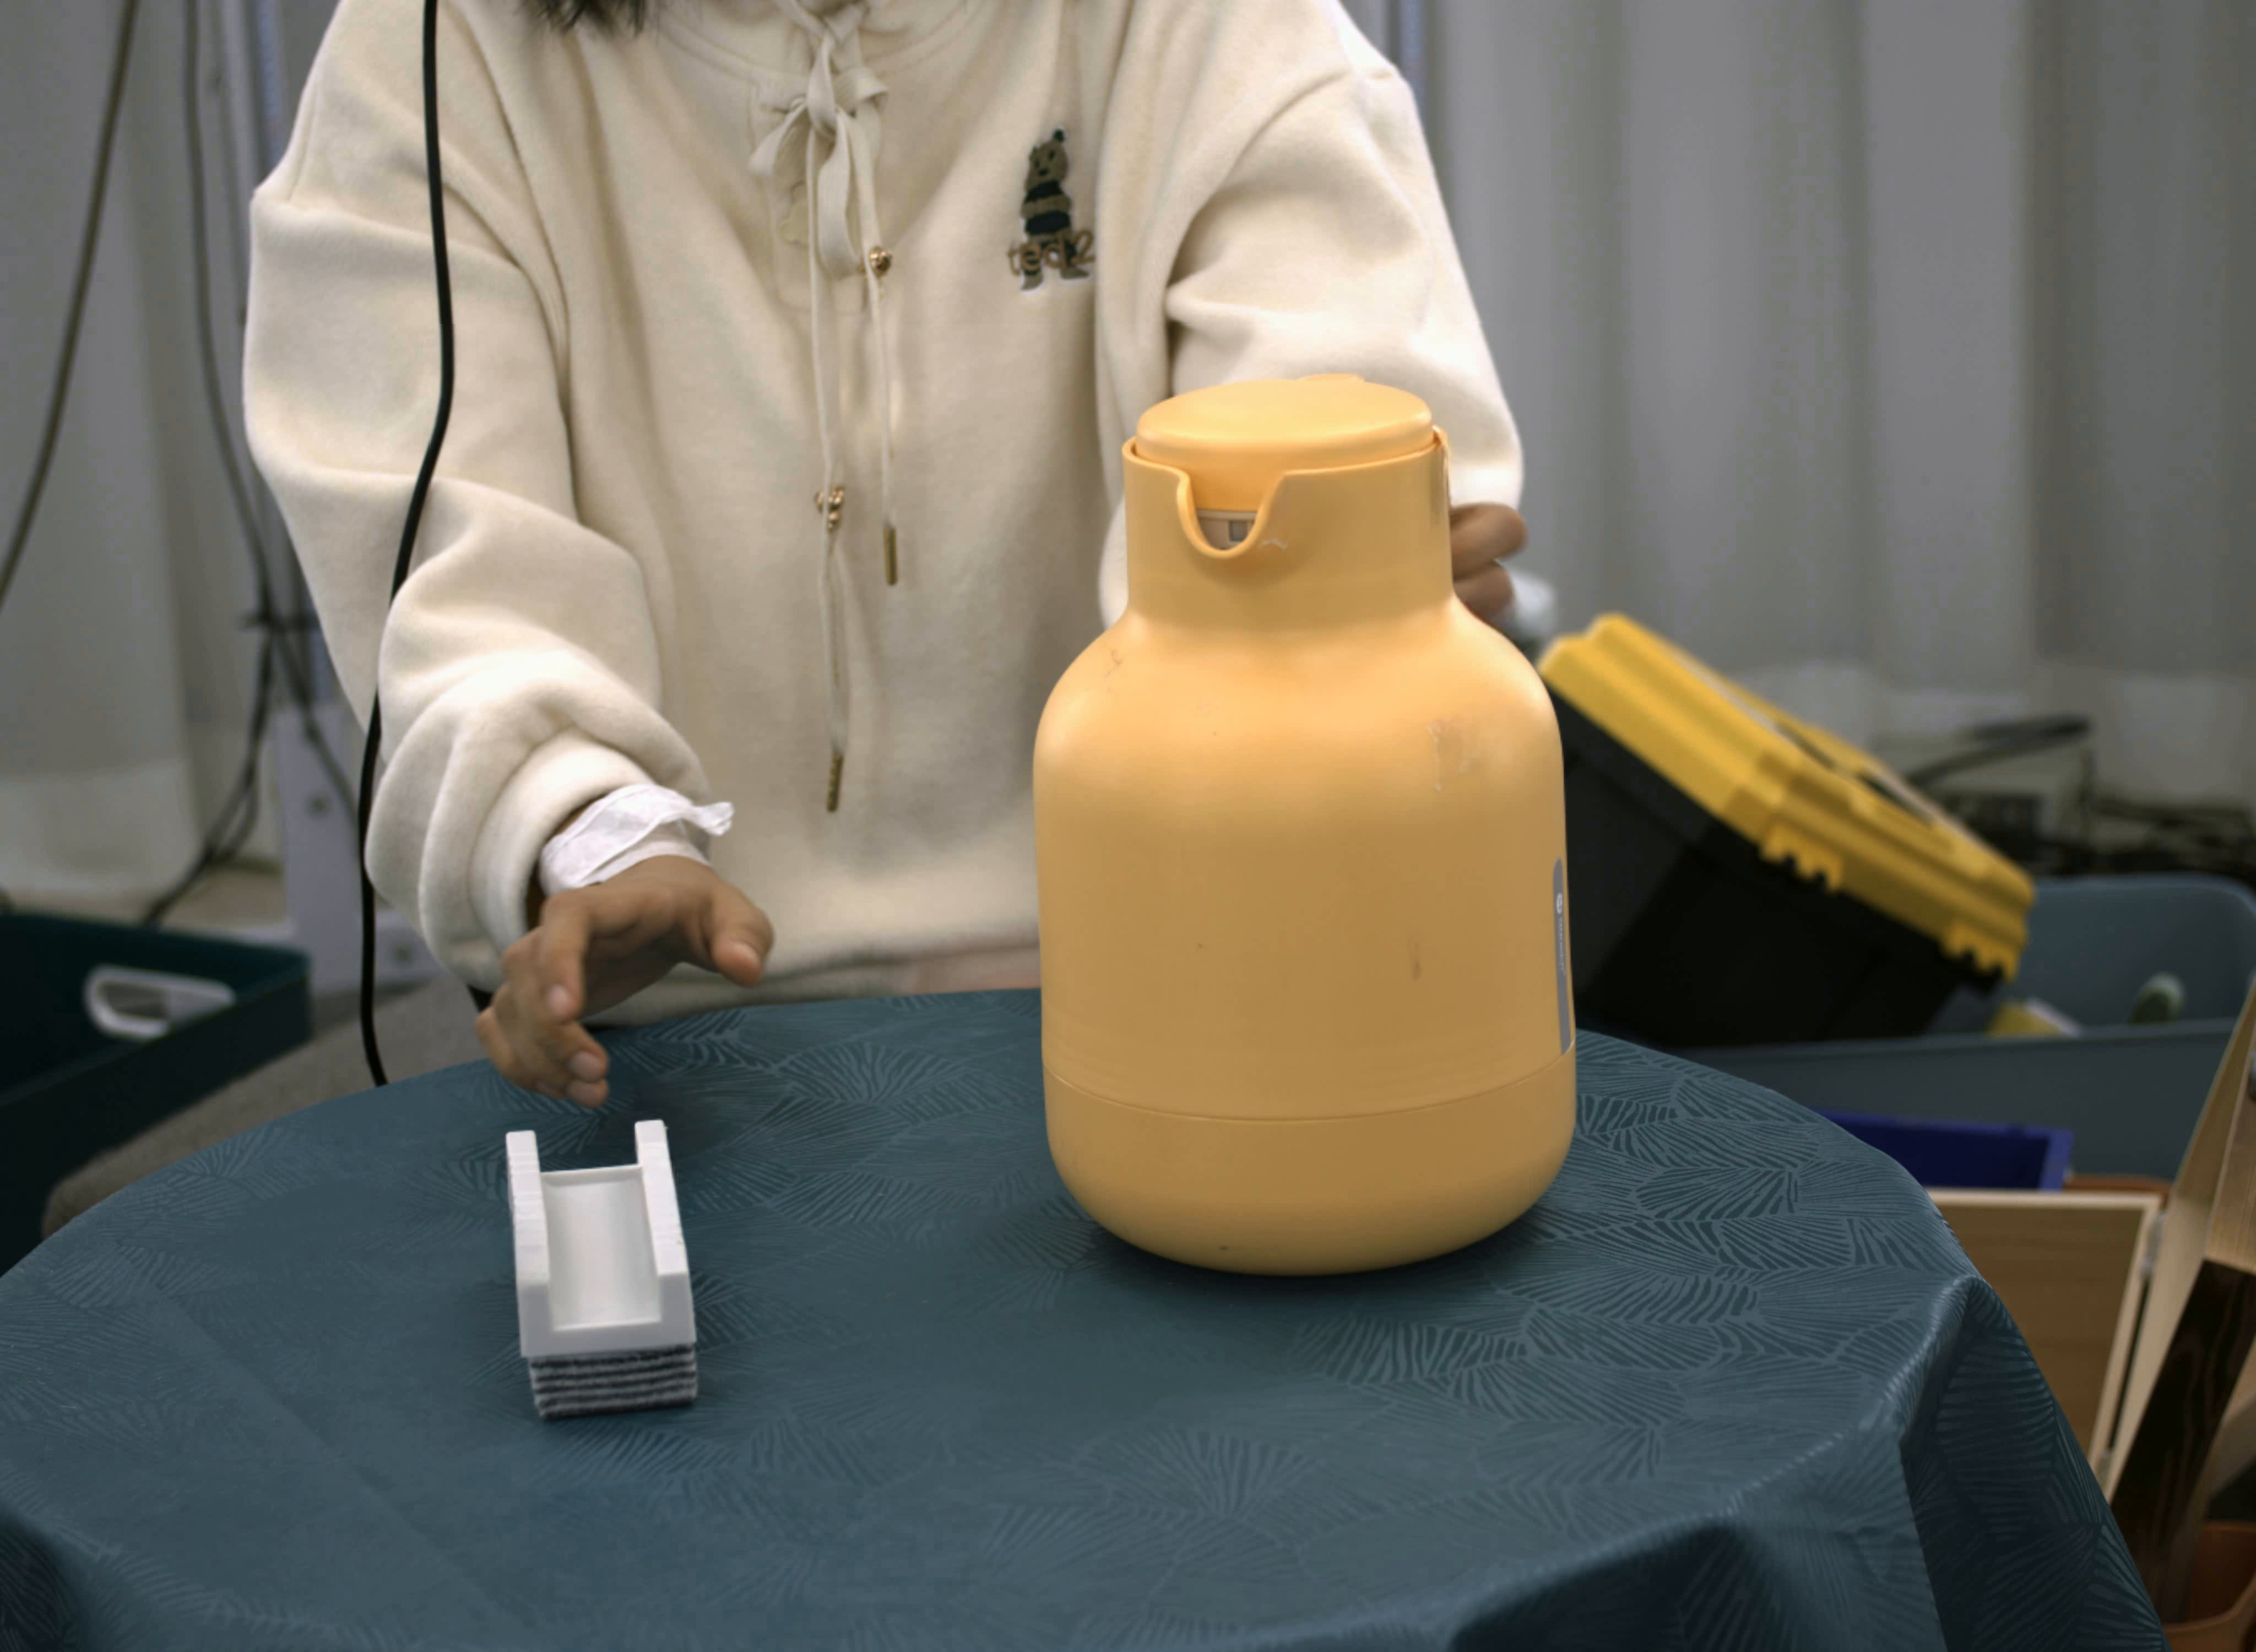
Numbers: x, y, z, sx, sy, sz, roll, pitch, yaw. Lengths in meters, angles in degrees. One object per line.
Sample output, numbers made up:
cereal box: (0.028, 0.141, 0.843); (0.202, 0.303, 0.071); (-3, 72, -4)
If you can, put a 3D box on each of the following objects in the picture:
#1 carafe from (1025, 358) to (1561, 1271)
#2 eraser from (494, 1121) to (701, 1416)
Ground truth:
carafe: (0.057, -0.012, 1.666); (0.163, 0.259, 0.203); (5, 17, 17)
eraser: (-0.156, 0.128, 1.603); (0.049, 0.046, 0.135); (-8, 16, -8)
